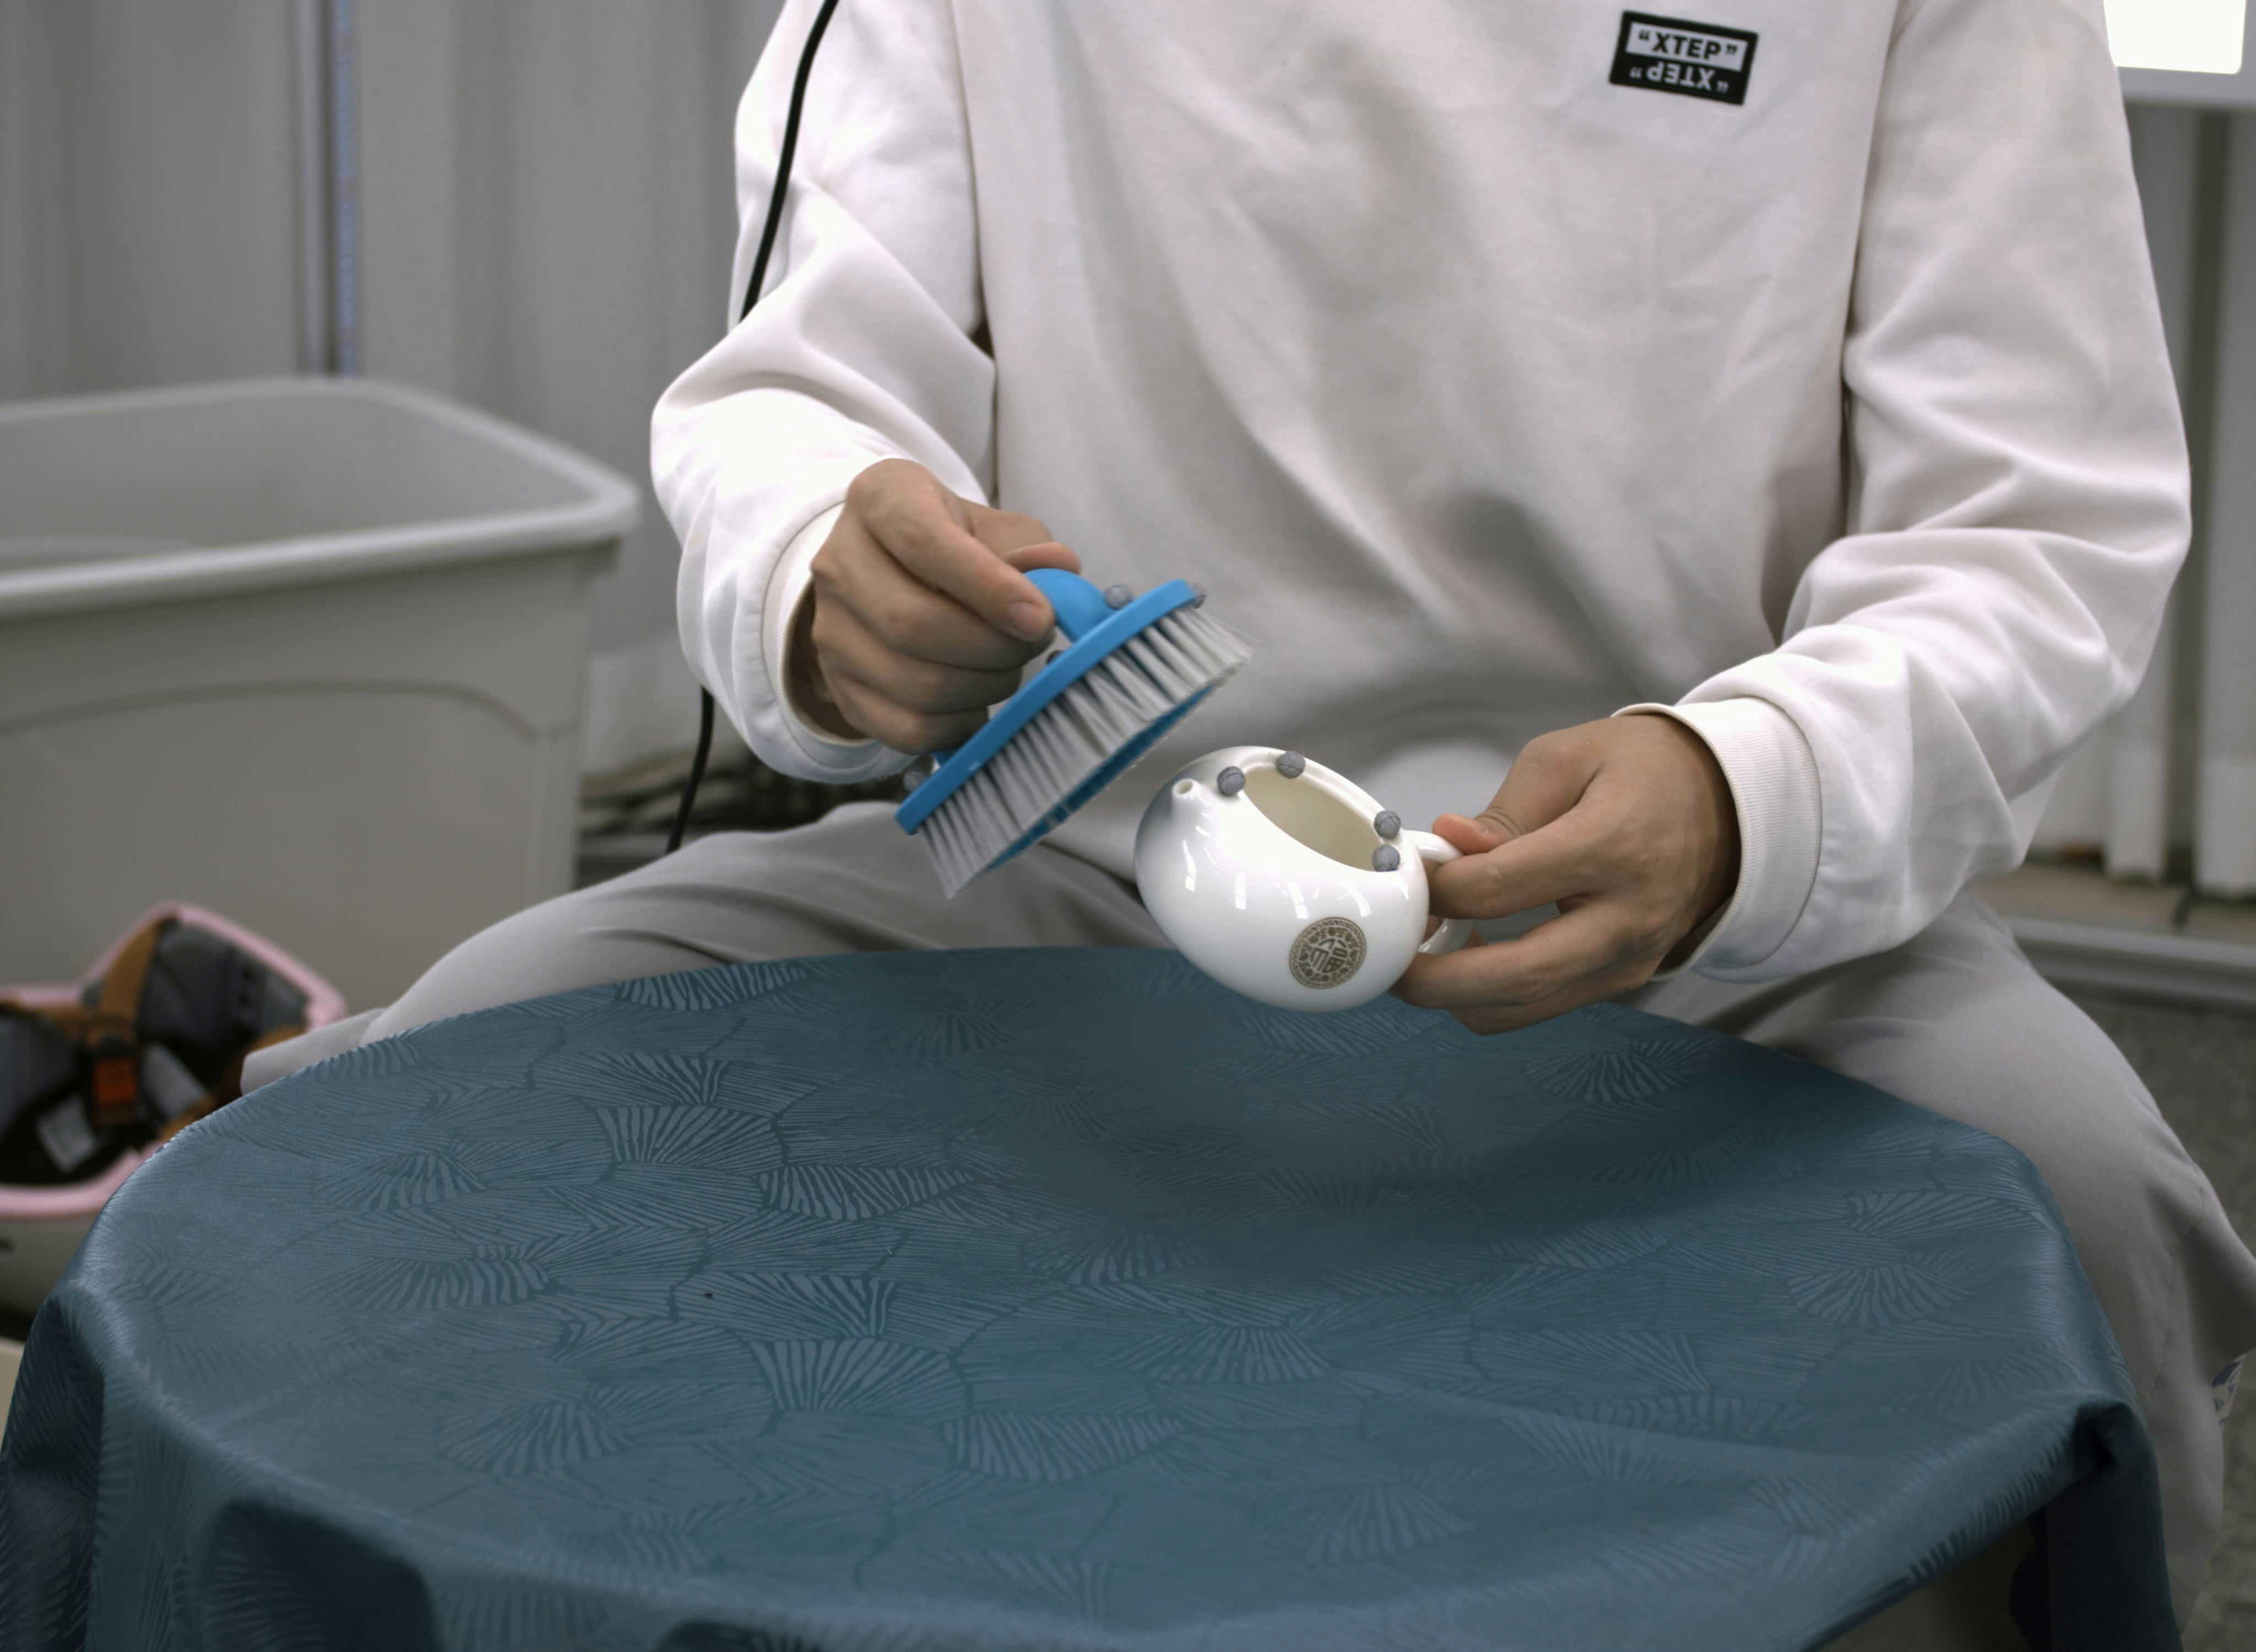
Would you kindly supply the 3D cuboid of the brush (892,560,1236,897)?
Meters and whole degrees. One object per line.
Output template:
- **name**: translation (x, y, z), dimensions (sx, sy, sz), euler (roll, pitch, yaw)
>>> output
- **brush**: translation (-0.030, -0.038, 1.608), dimensions (0.084, 0.064, 0.142), euler (-41, -2, -40)

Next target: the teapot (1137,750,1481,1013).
- **teapot**: translation (0.056, 0.019, 1.609), dimensions (0.128, 0.057, 0.092), euler (11, 27, -38)
